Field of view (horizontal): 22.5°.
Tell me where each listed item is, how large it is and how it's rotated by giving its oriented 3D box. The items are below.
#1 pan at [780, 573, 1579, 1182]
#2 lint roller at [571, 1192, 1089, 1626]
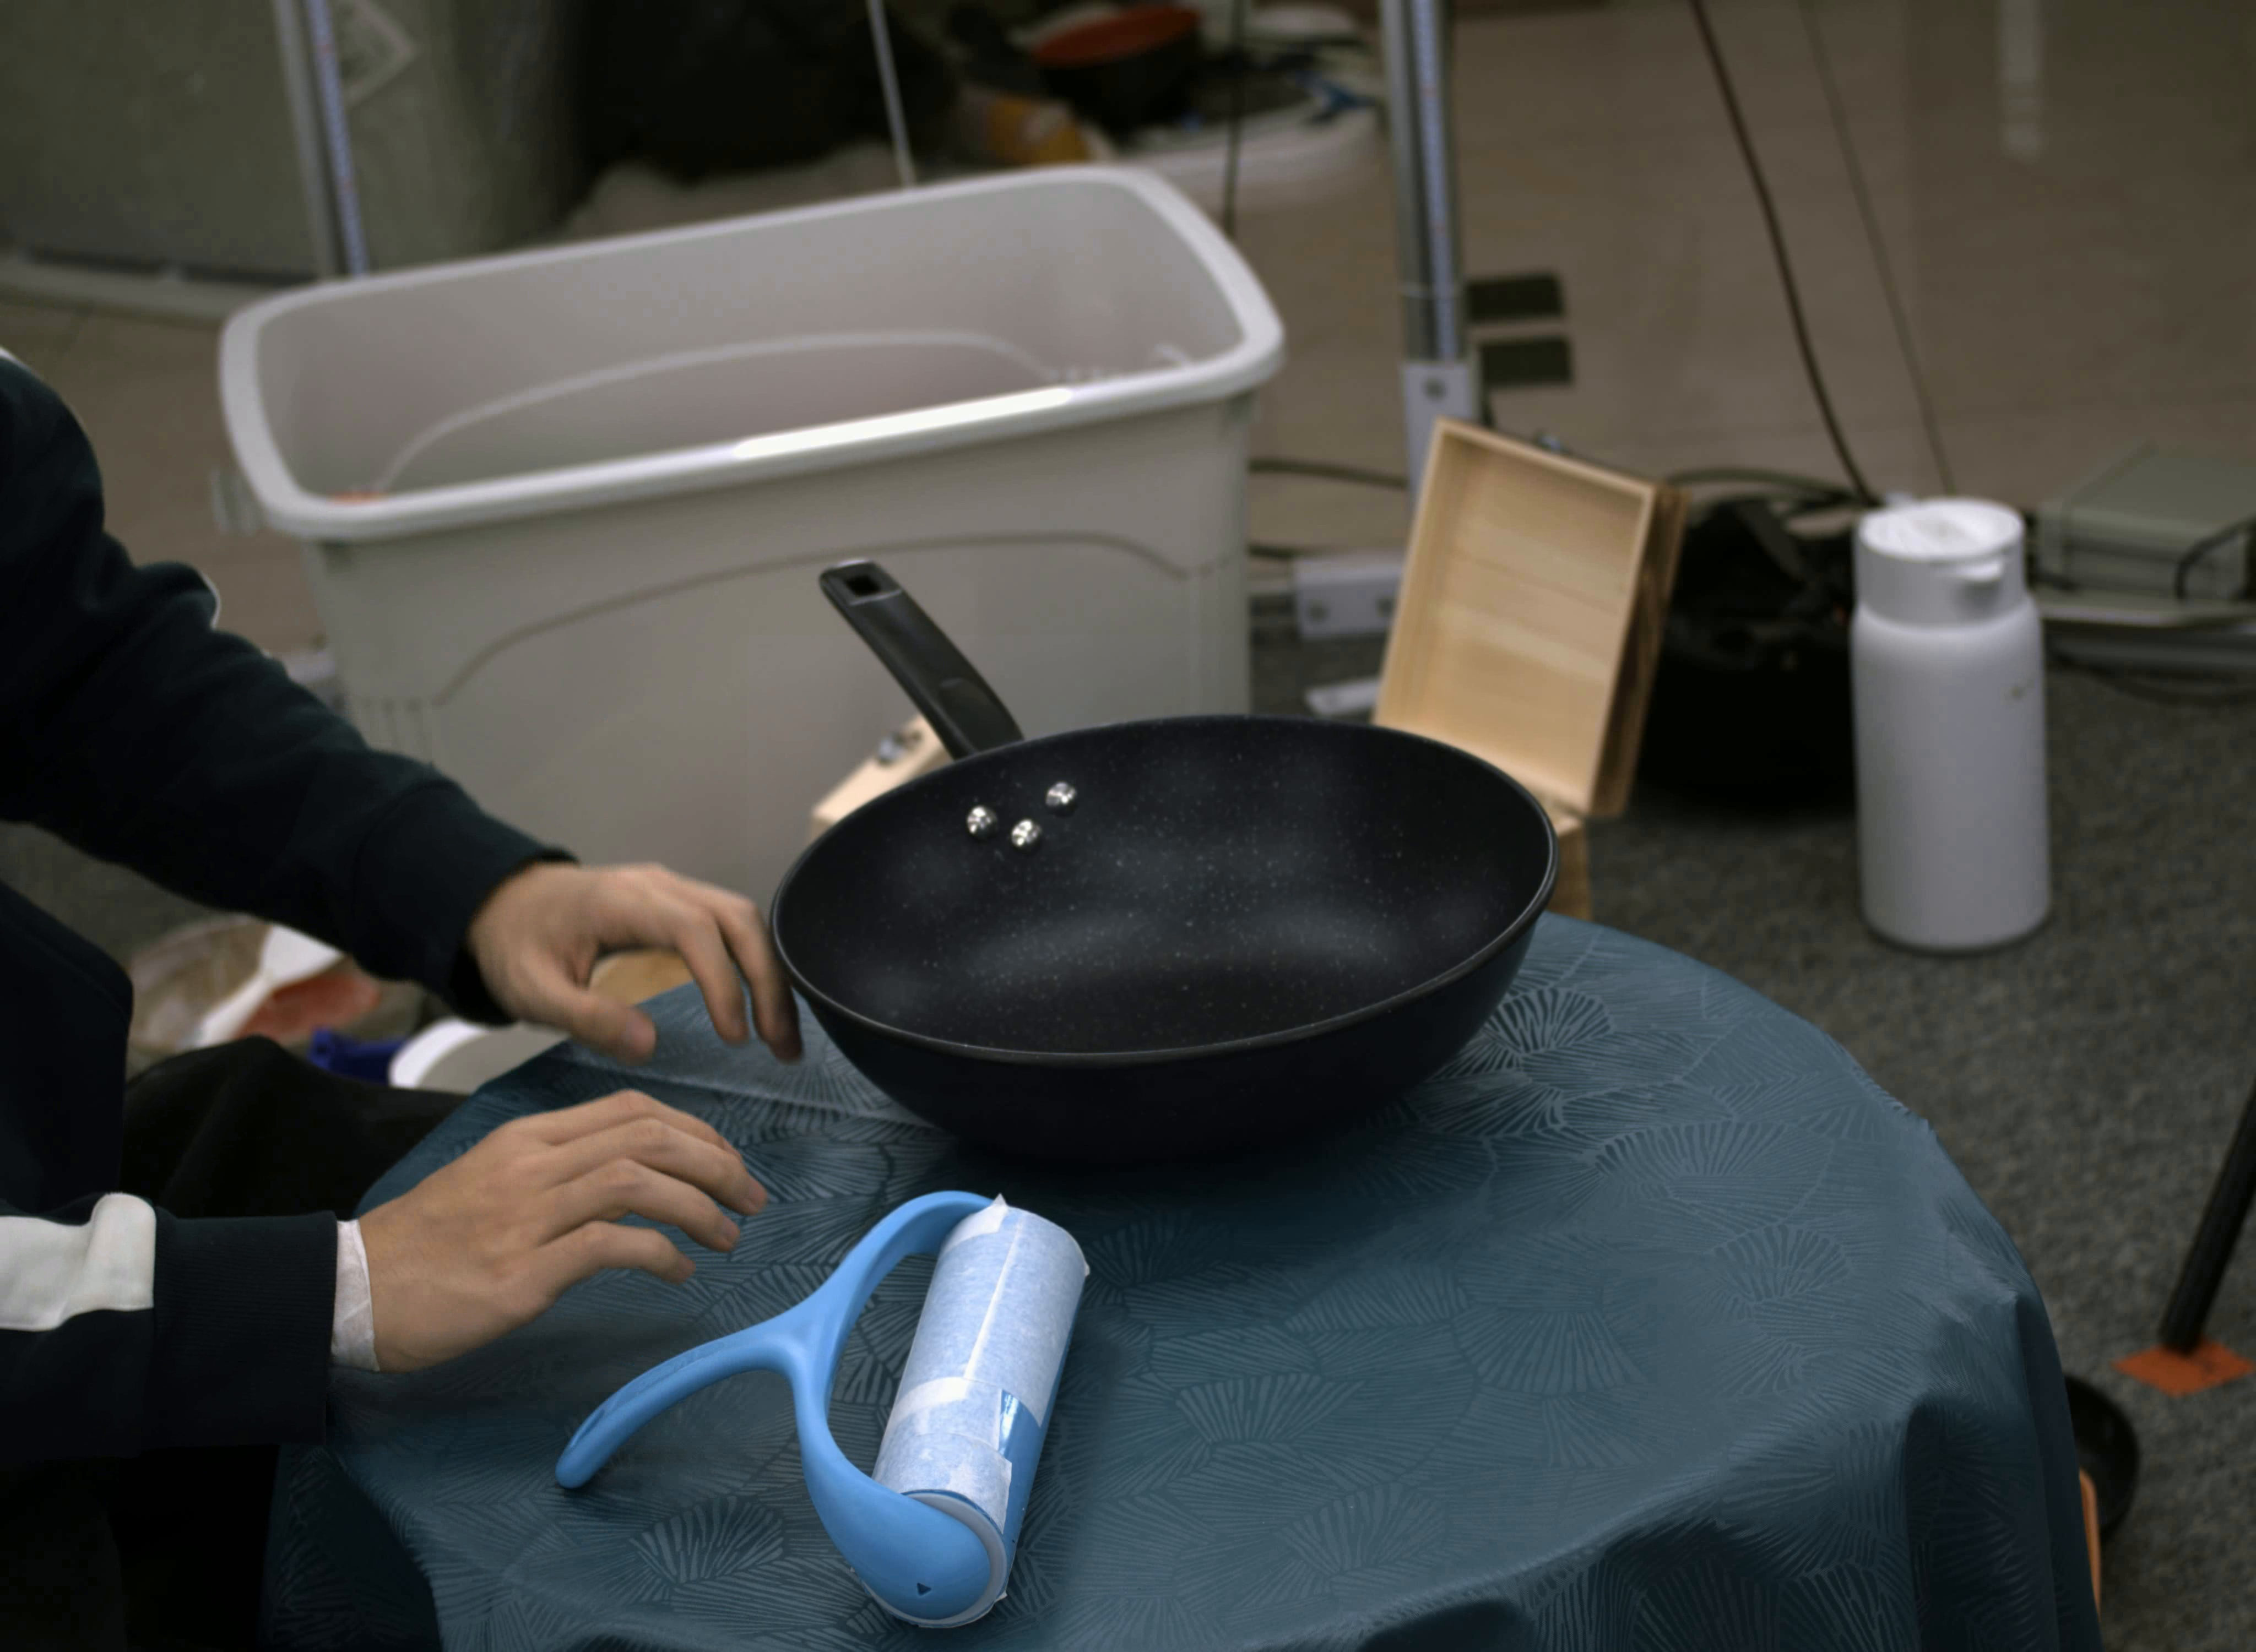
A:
[{"bbox_3d":[-0.015,0.022,2.271,0.309,0.113,0.471,-15,27,-22],"label":"pan"},{"bbox_3d":[-0.109,0.203,1.967,0.180,0.069,0.225,-3,27,5],"label":"lint roller"}]
